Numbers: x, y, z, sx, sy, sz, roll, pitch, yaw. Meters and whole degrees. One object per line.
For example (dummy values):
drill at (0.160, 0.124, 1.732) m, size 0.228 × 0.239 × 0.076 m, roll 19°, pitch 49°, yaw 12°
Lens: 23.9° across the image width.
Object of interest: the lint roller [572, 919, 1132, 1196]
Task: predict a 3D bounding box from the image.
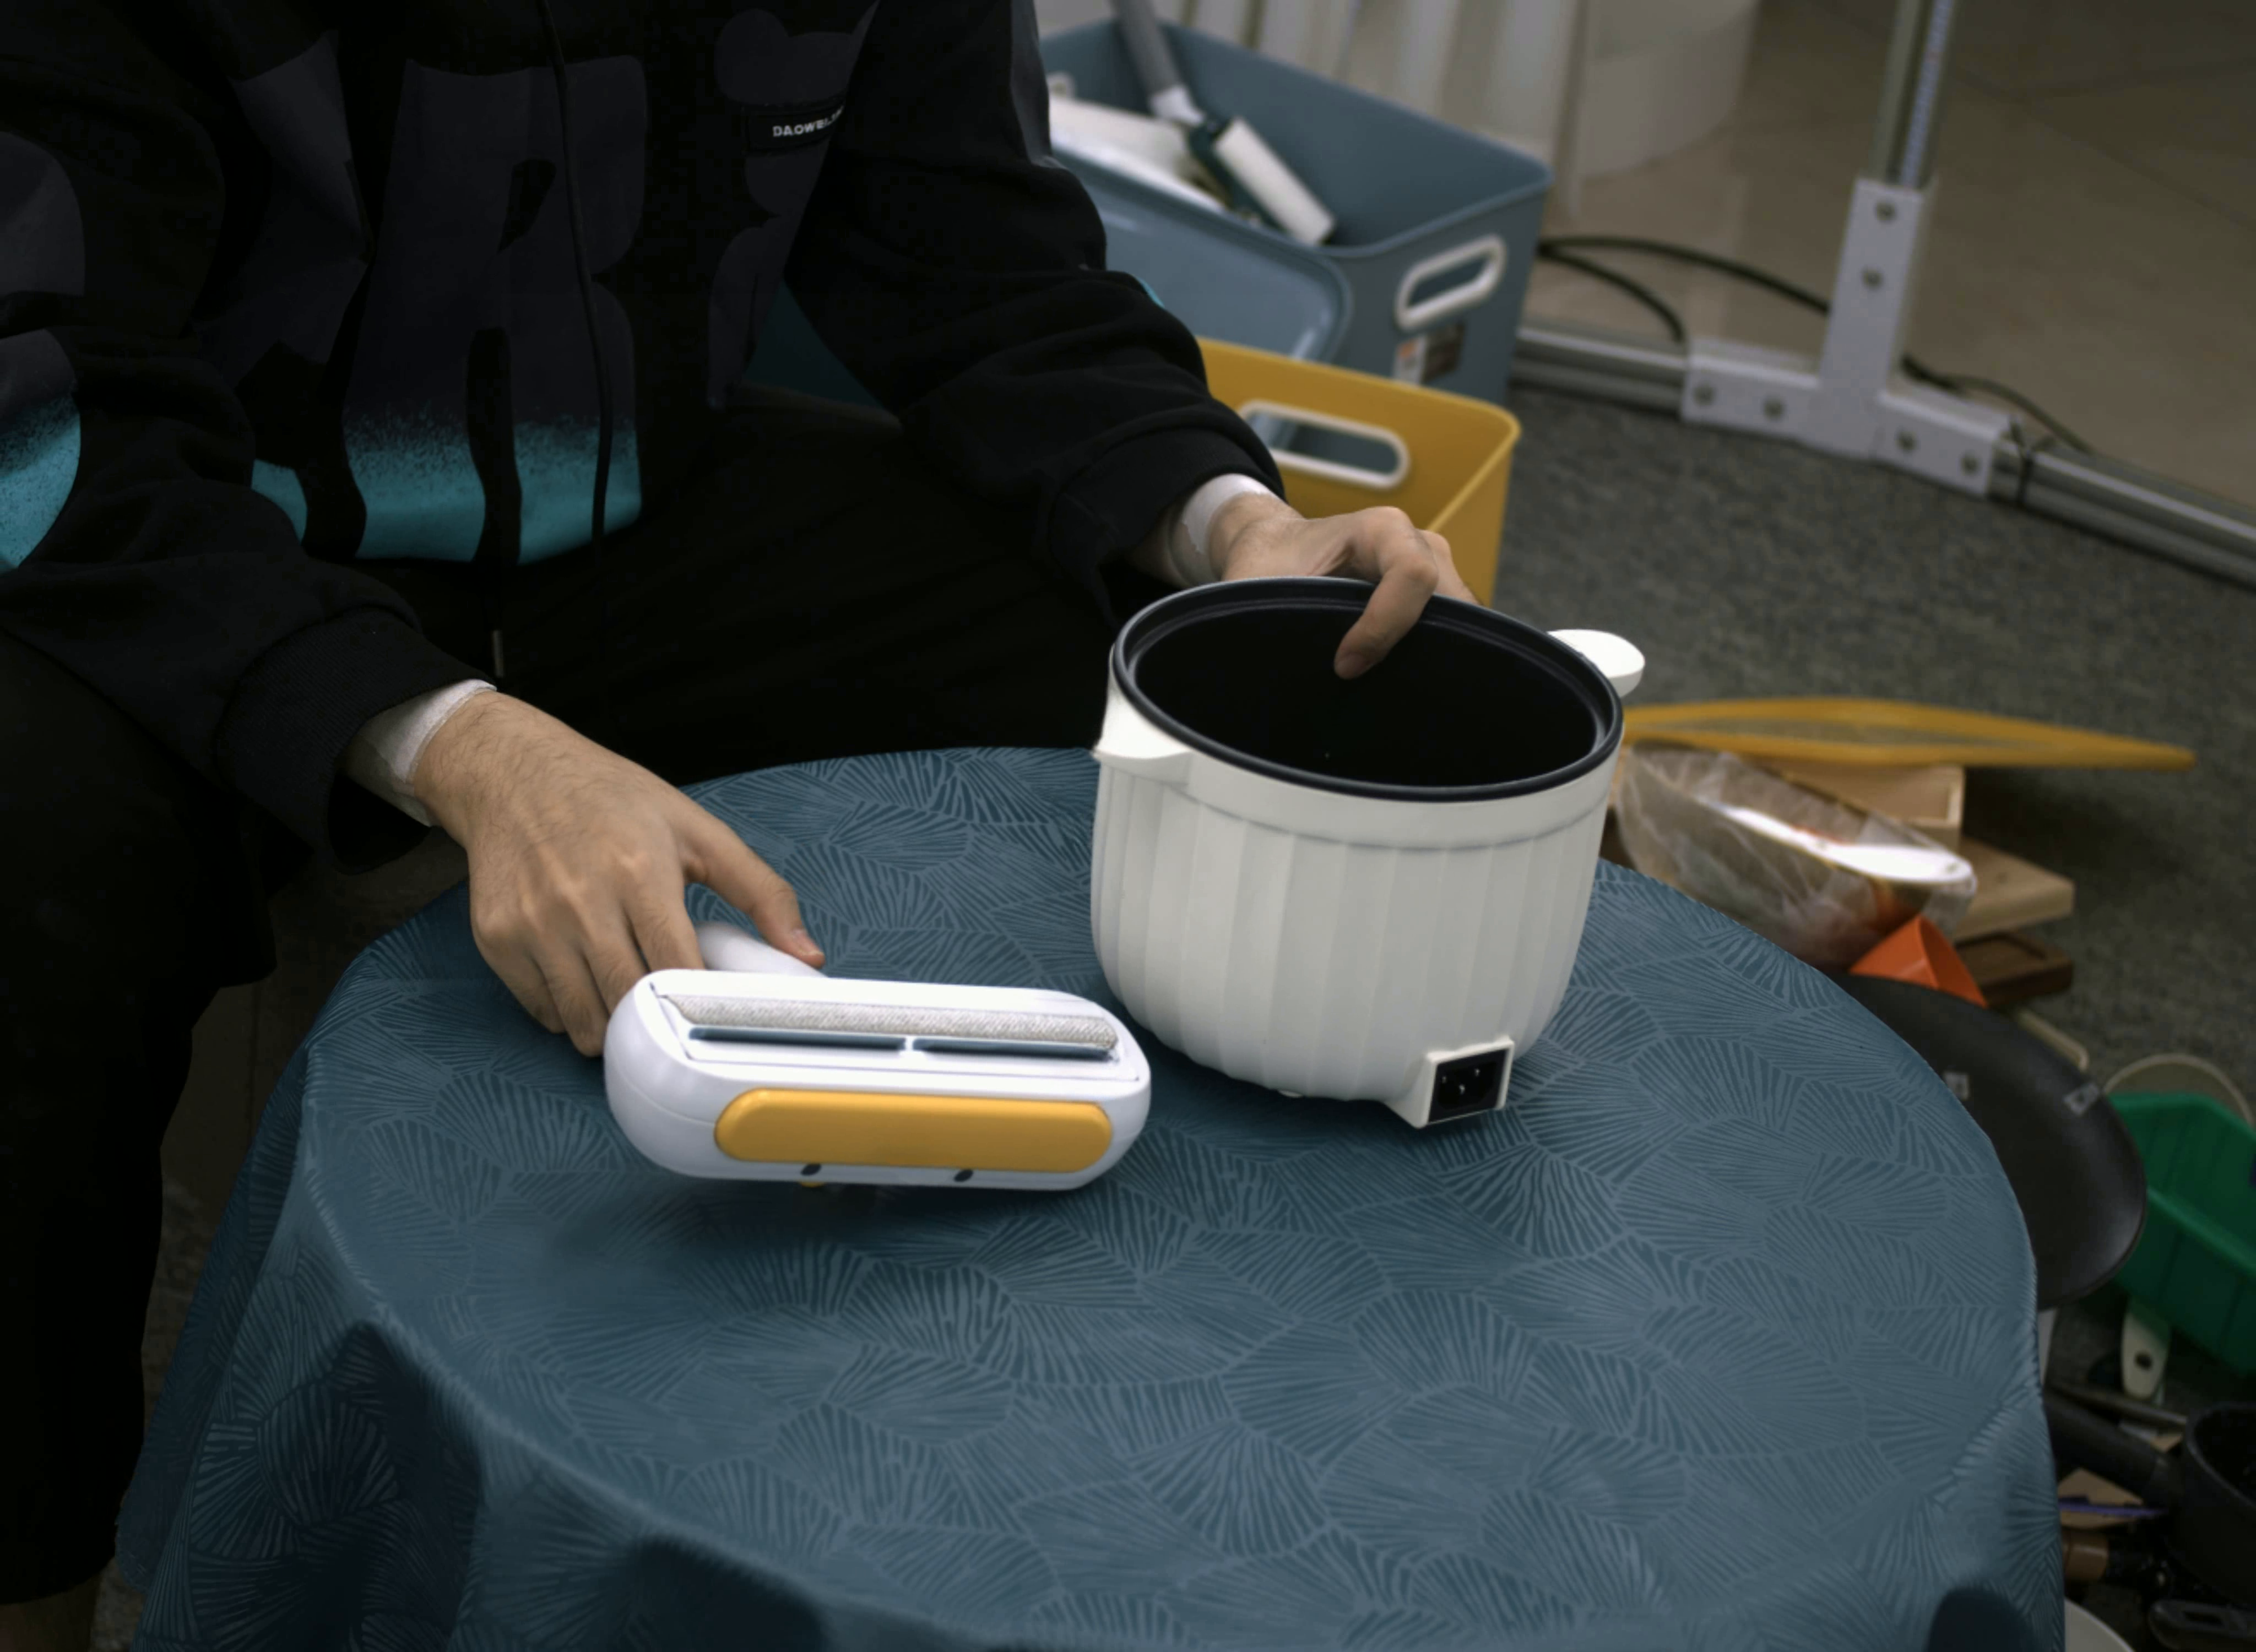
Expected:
lint roller at (-0.113, 0.066, 1.812) m, size 0.191 × 0.074 × 0.194 m, roll 1°, pitch 25°, yaw -24°

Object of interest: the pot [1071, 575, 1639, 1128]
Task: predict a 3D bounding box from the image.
pot at (0.071, 0.007, 1.887) m, size 0.239 × 0.142 × 0.192 m, roll -10°, pitch 32°, yaw -34°
